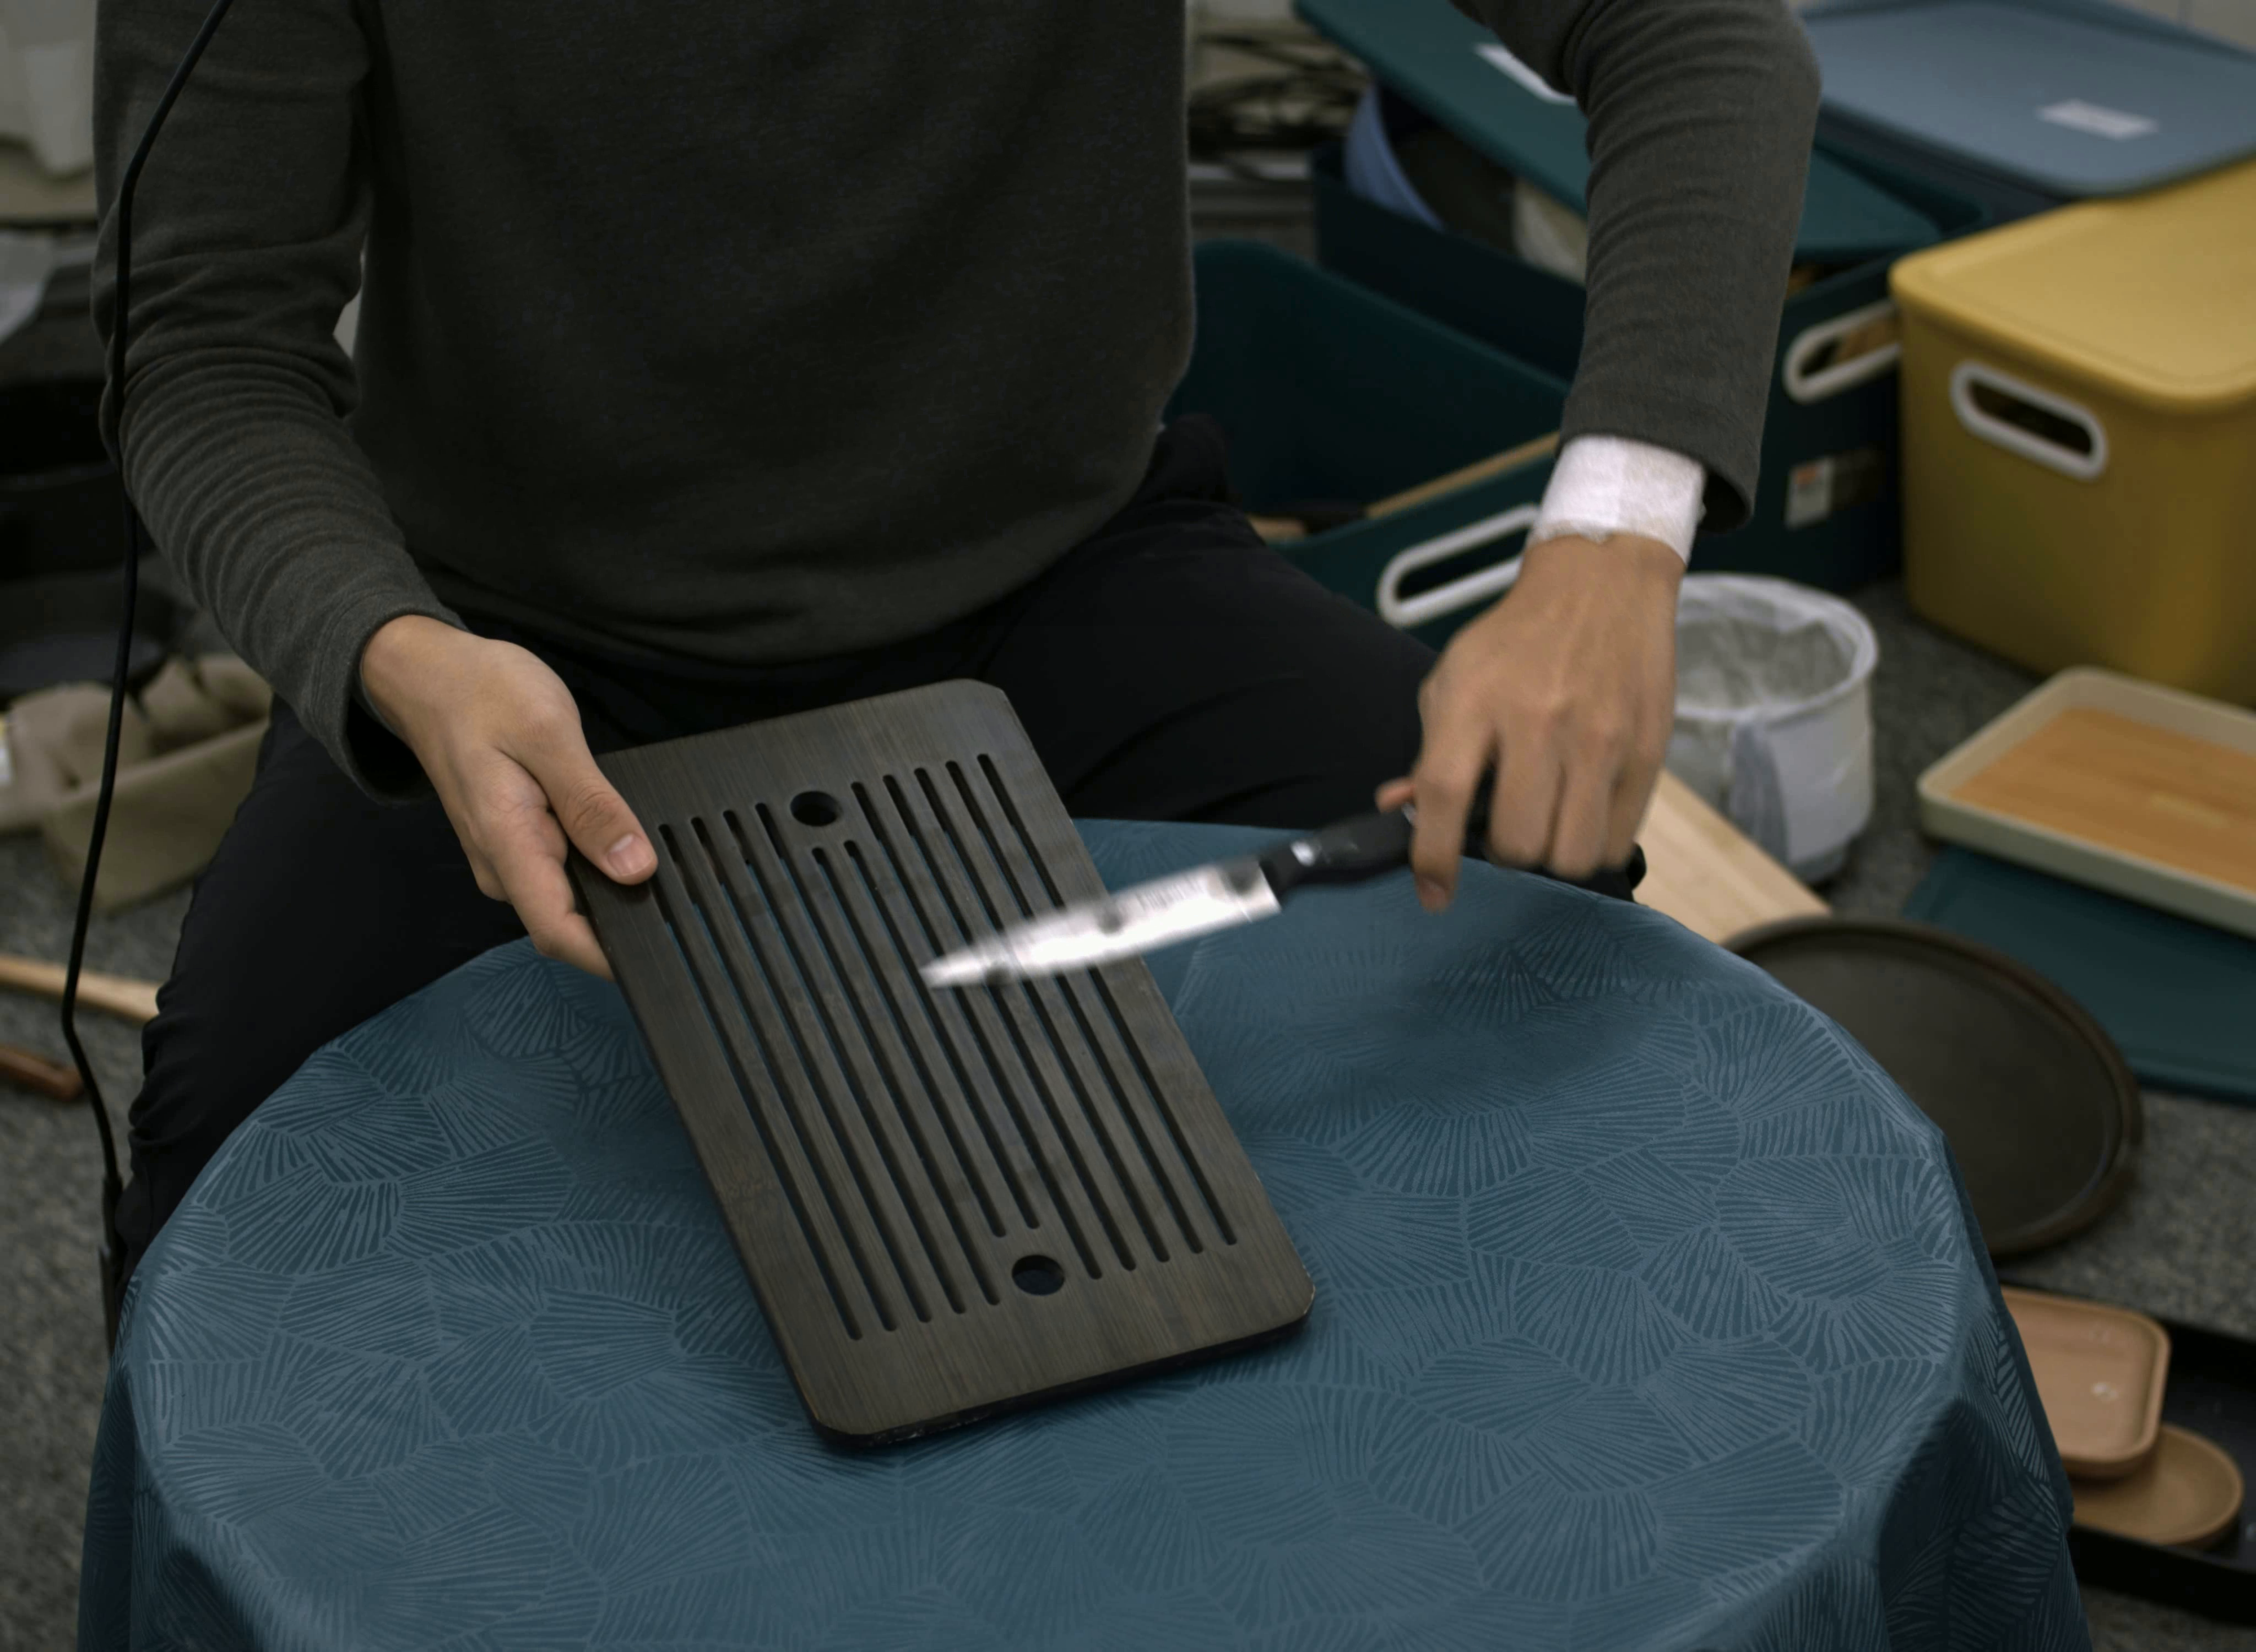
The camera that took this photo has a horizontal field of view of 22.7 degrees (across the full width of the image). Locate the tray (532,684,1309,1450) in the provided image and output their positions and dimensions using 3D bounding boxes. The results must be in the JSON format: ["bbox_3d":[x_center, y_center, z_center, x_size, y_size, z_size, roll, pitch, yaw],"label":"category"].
[{"bbox_3d":[-0.073,0.074,1.846,0.170,0.018,0.310,-12,47,-19],"label":"tray"}]

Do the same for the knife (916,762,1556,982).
[{"bbox_3d":[0.036,0.016,1.902,0.239,0.016,0.025,-17,61,-20],"label":"knife"}]
